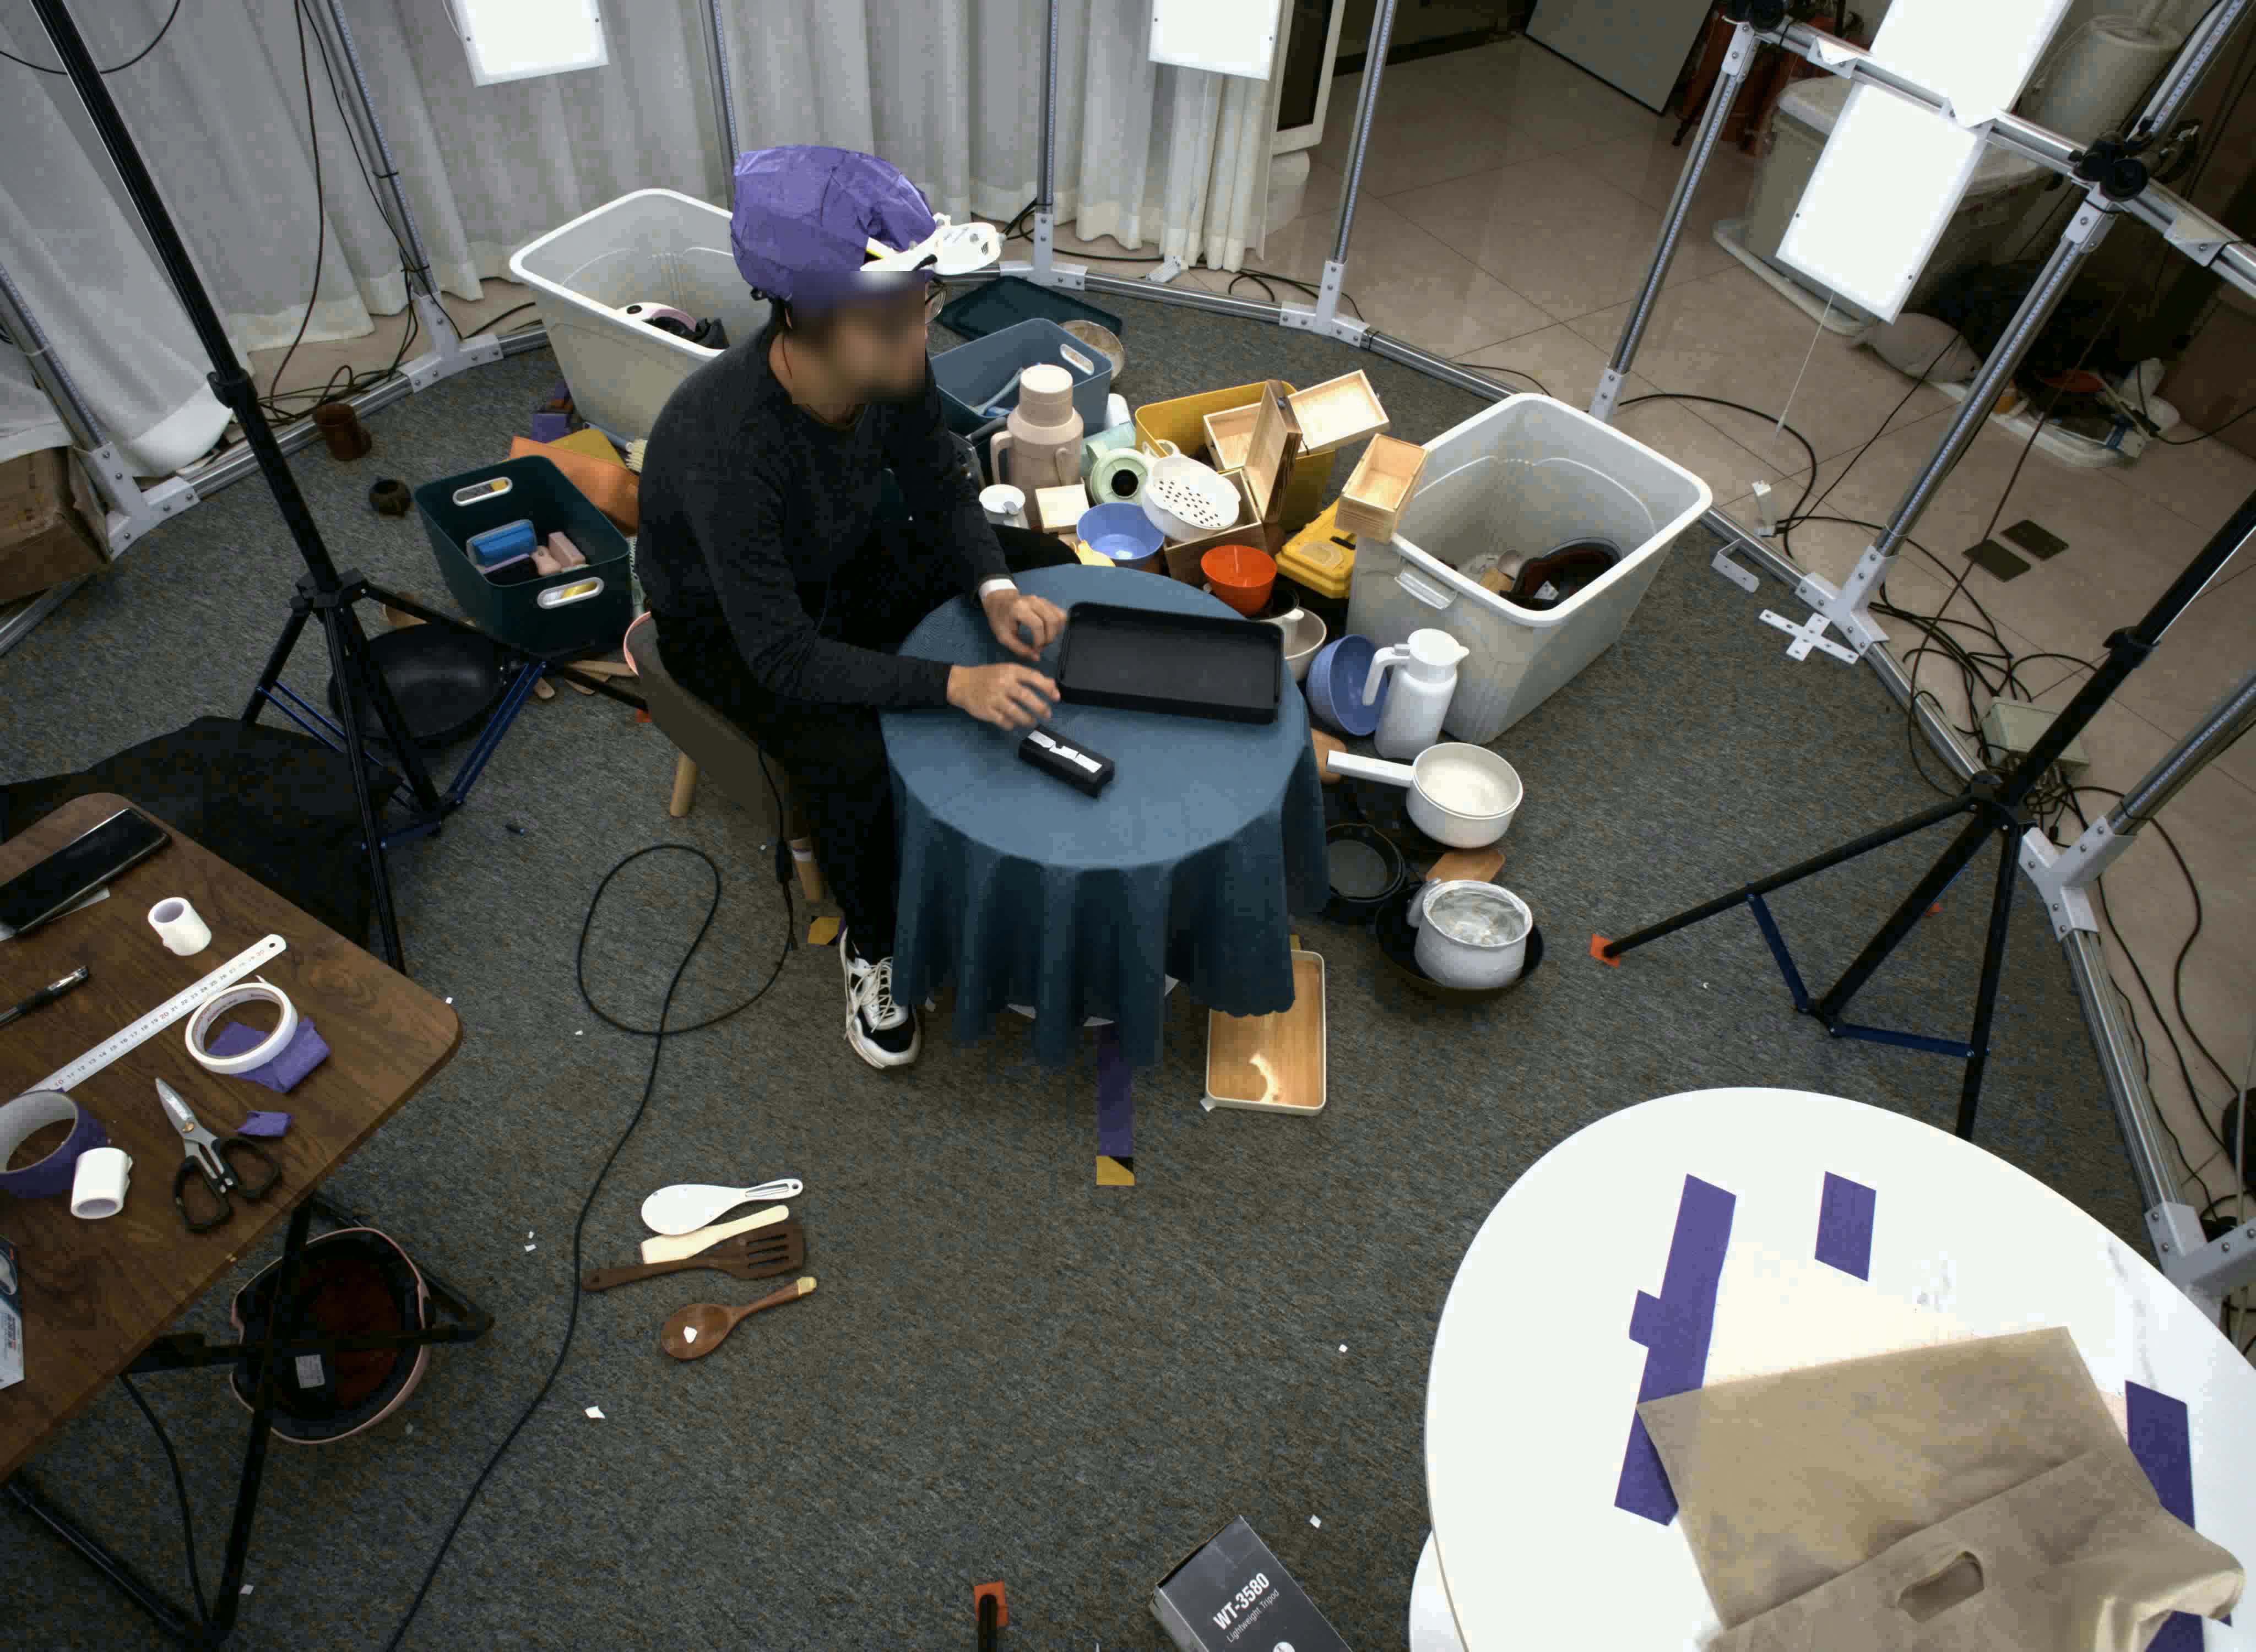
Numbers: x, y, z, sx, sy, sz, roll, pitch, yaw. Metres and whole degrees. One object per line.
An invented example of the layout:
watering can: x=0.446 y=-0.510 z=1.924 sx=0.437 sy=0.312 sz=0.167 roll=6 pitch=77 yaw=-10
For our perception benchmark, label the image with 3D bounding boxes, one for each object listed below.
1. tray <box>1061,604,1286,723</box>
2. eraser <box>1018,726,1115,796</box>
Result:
tray: x=0.068 y=-0.237 z=1.858 sx=0.318 sy=0.036 sz=0.189 roll=5 pitch=49 yaw=1
eraser: x=-0.083 y=-0.088 z=1.723 sx=0.127 sy=0.030 sz=0.054 roll=27 pitch=50 yaw=20
